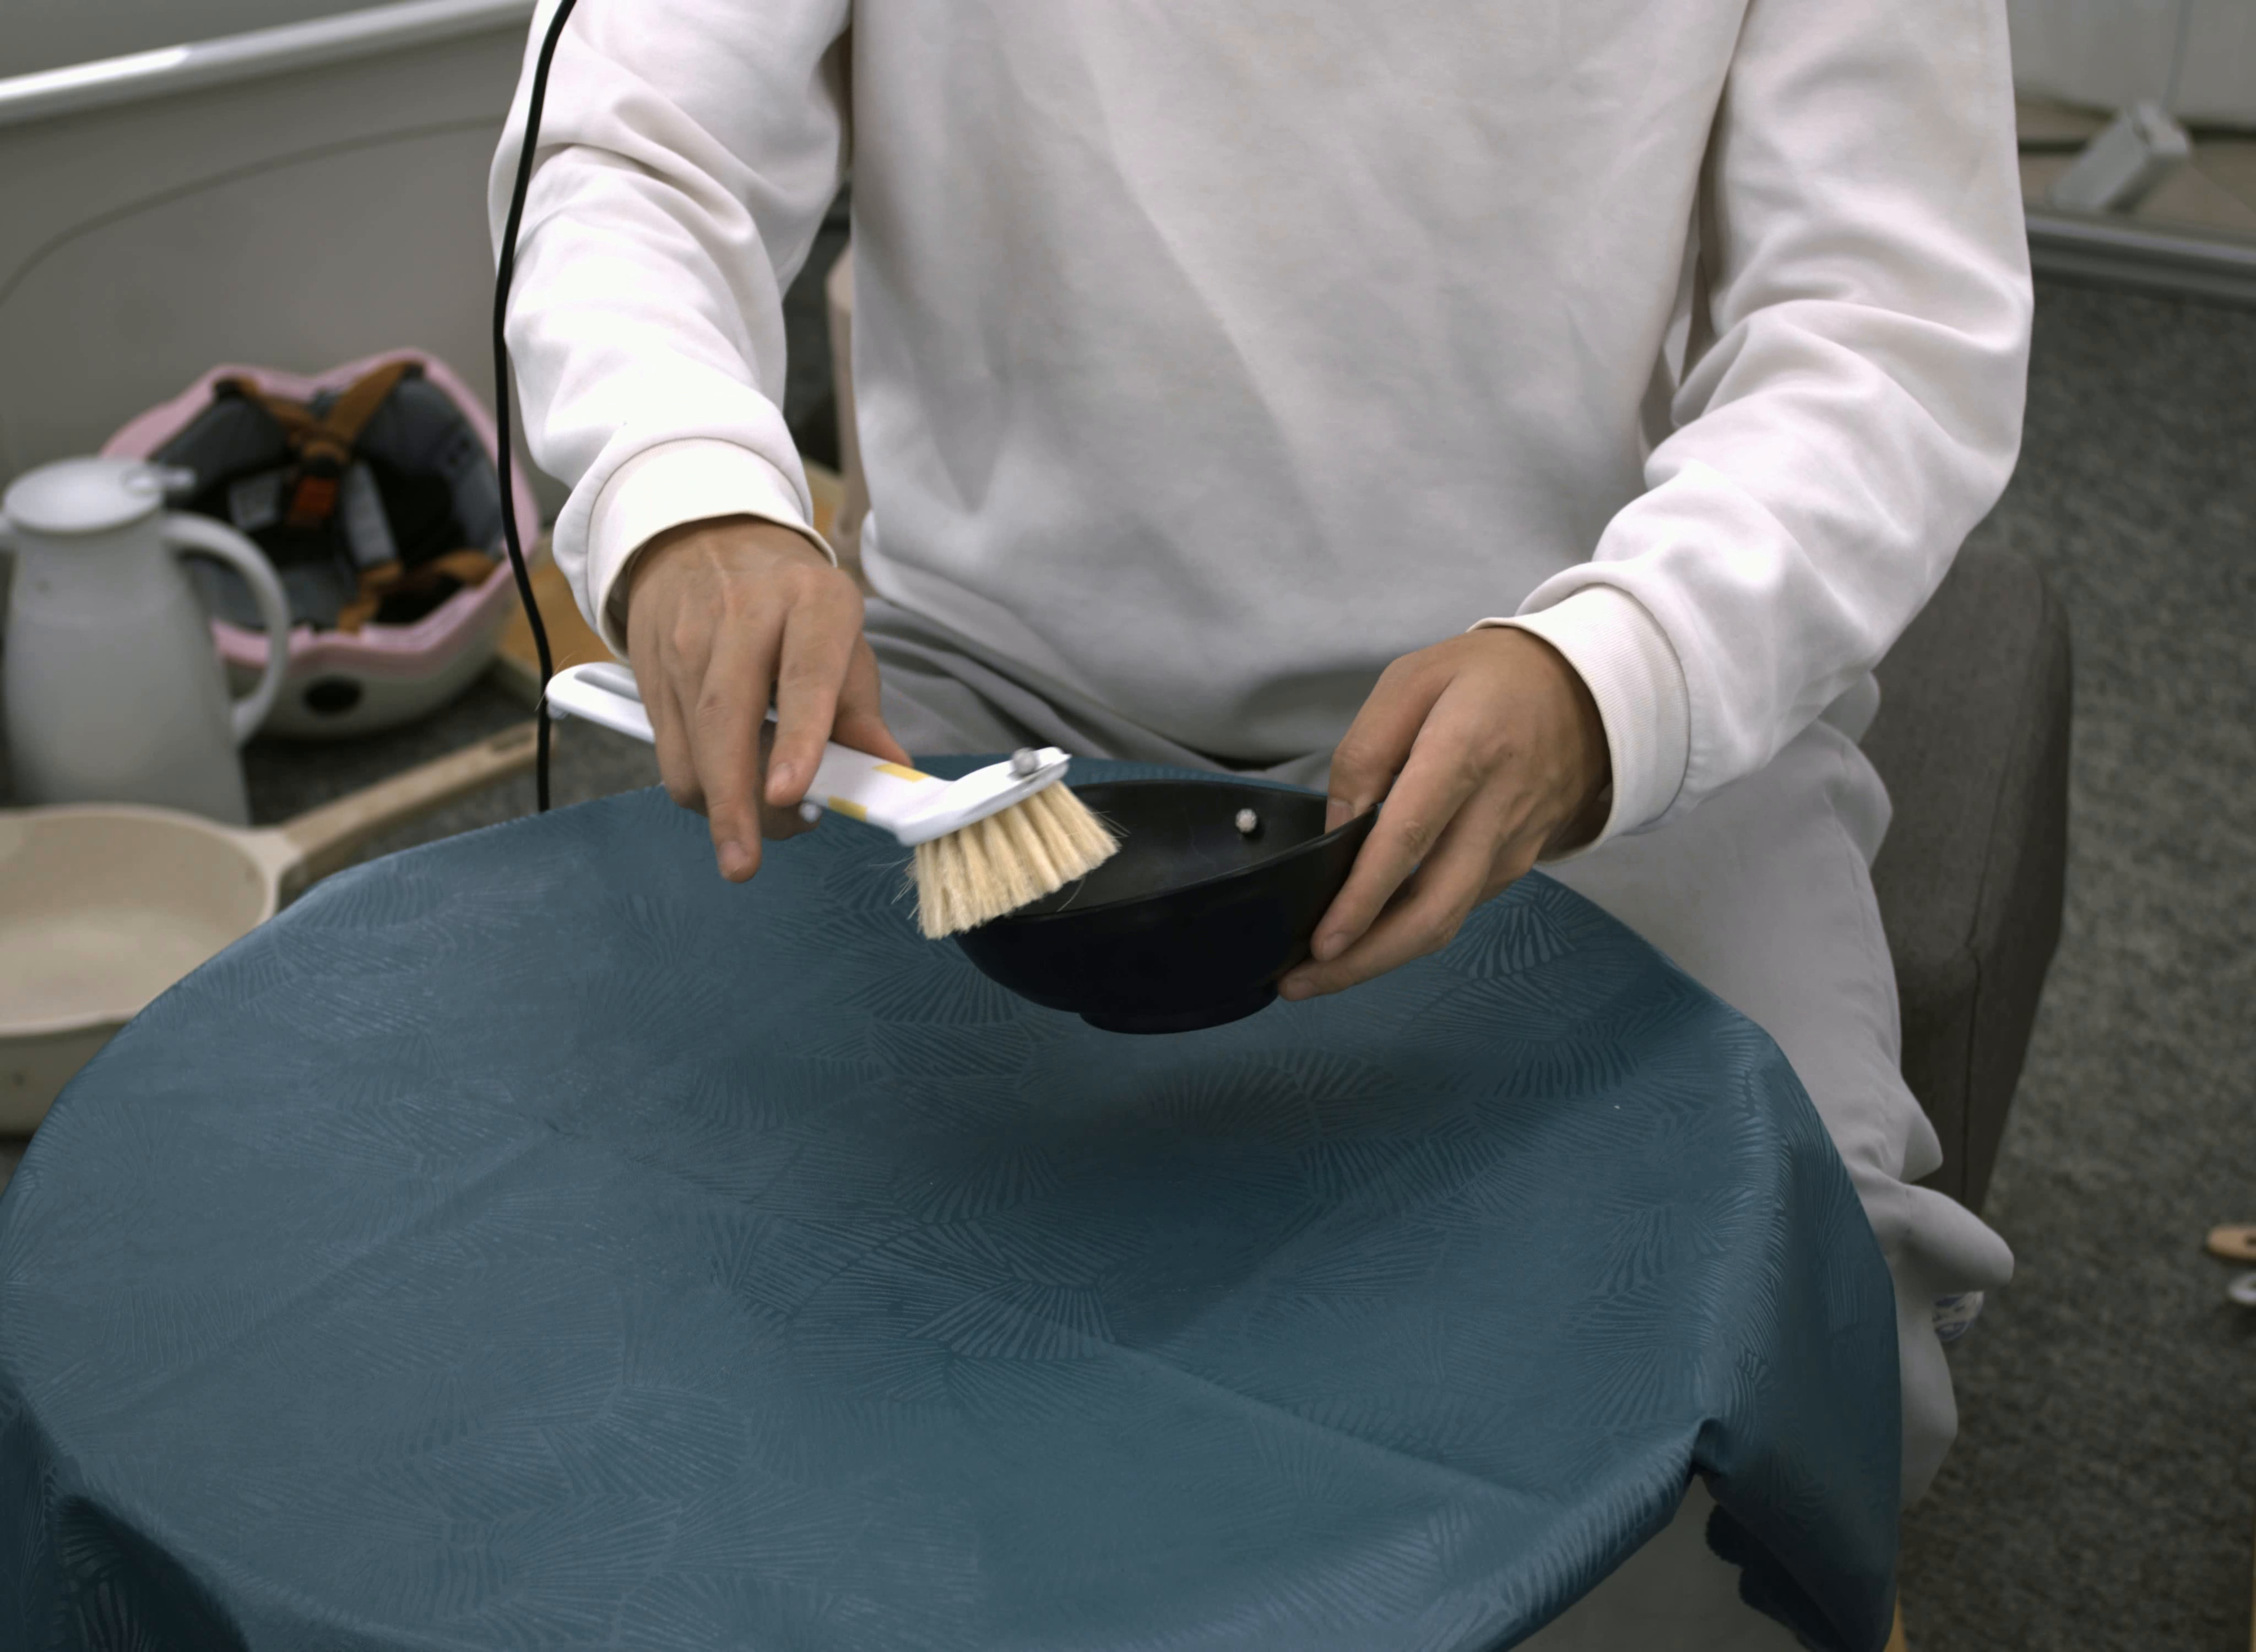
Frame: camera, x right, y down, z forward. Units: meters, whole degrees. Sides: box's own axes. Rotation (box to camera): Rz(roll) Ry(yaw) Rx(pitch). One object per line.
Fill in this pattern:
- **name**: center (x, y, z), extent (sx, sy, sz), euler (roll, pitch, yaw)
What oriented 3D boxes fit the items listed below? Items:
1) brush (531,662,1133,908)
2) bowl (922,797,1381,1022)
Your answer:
- **brush**: center (-0.103, -0.016, 1.875), extent (0.265, 0.056, 0.069), euler (8, 29, 44)
- **bowl**: center (0.011, 0.027, 1.871), extent (0.136, 0.066, 0.172), euler (2, 13, 42)
